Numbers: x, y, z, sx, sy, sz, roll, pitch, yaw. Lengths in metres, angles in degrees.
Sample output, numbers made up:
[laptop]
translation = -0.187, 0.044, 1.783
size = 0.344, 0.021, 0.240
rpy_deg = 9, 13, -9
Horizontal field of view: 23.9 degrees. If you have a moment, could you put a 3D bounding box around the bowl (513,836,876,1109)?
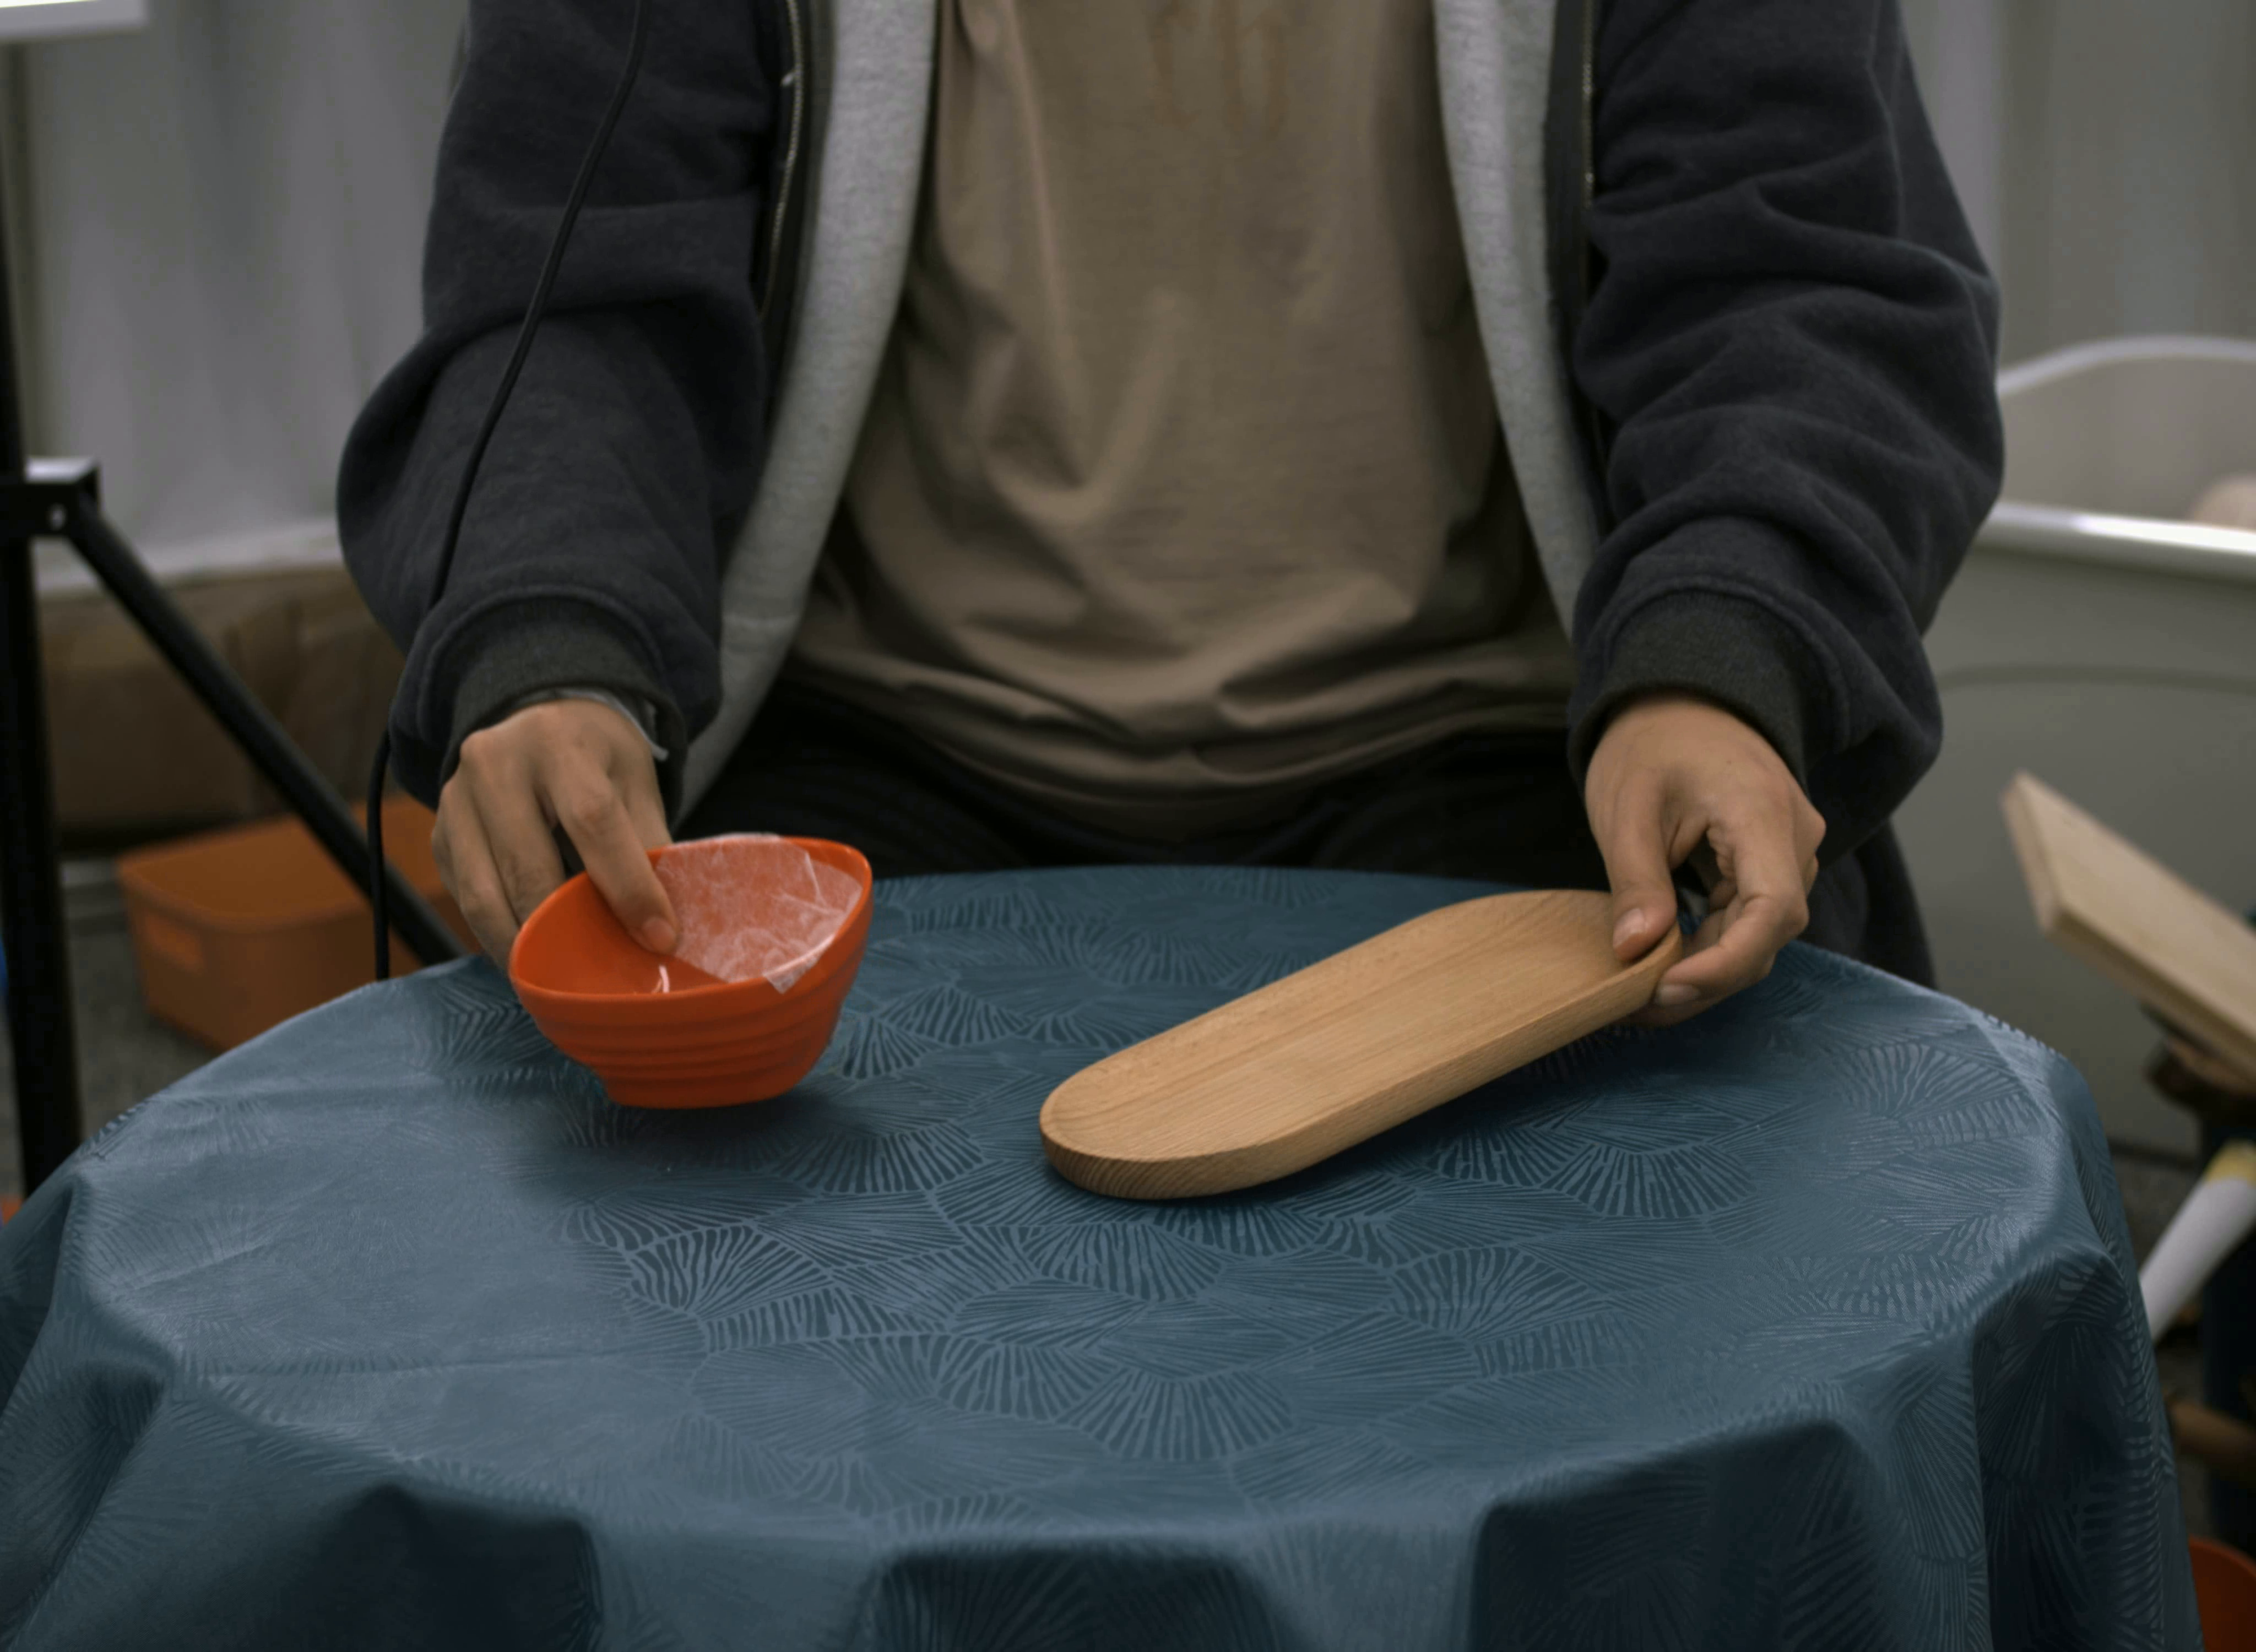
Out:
[bowl]
translation = -0.129, 0.049, 1.642
size = 0.118, 0.051, 0.120
rpy_deg = -10, 24, 3

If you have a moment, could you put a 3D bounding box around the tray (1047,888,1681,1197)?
[tray]
translation = 0.075, 0.065, 1.623
size = 0.226, 0.020, 0.104
rpy_deg = -22, 23, -35
